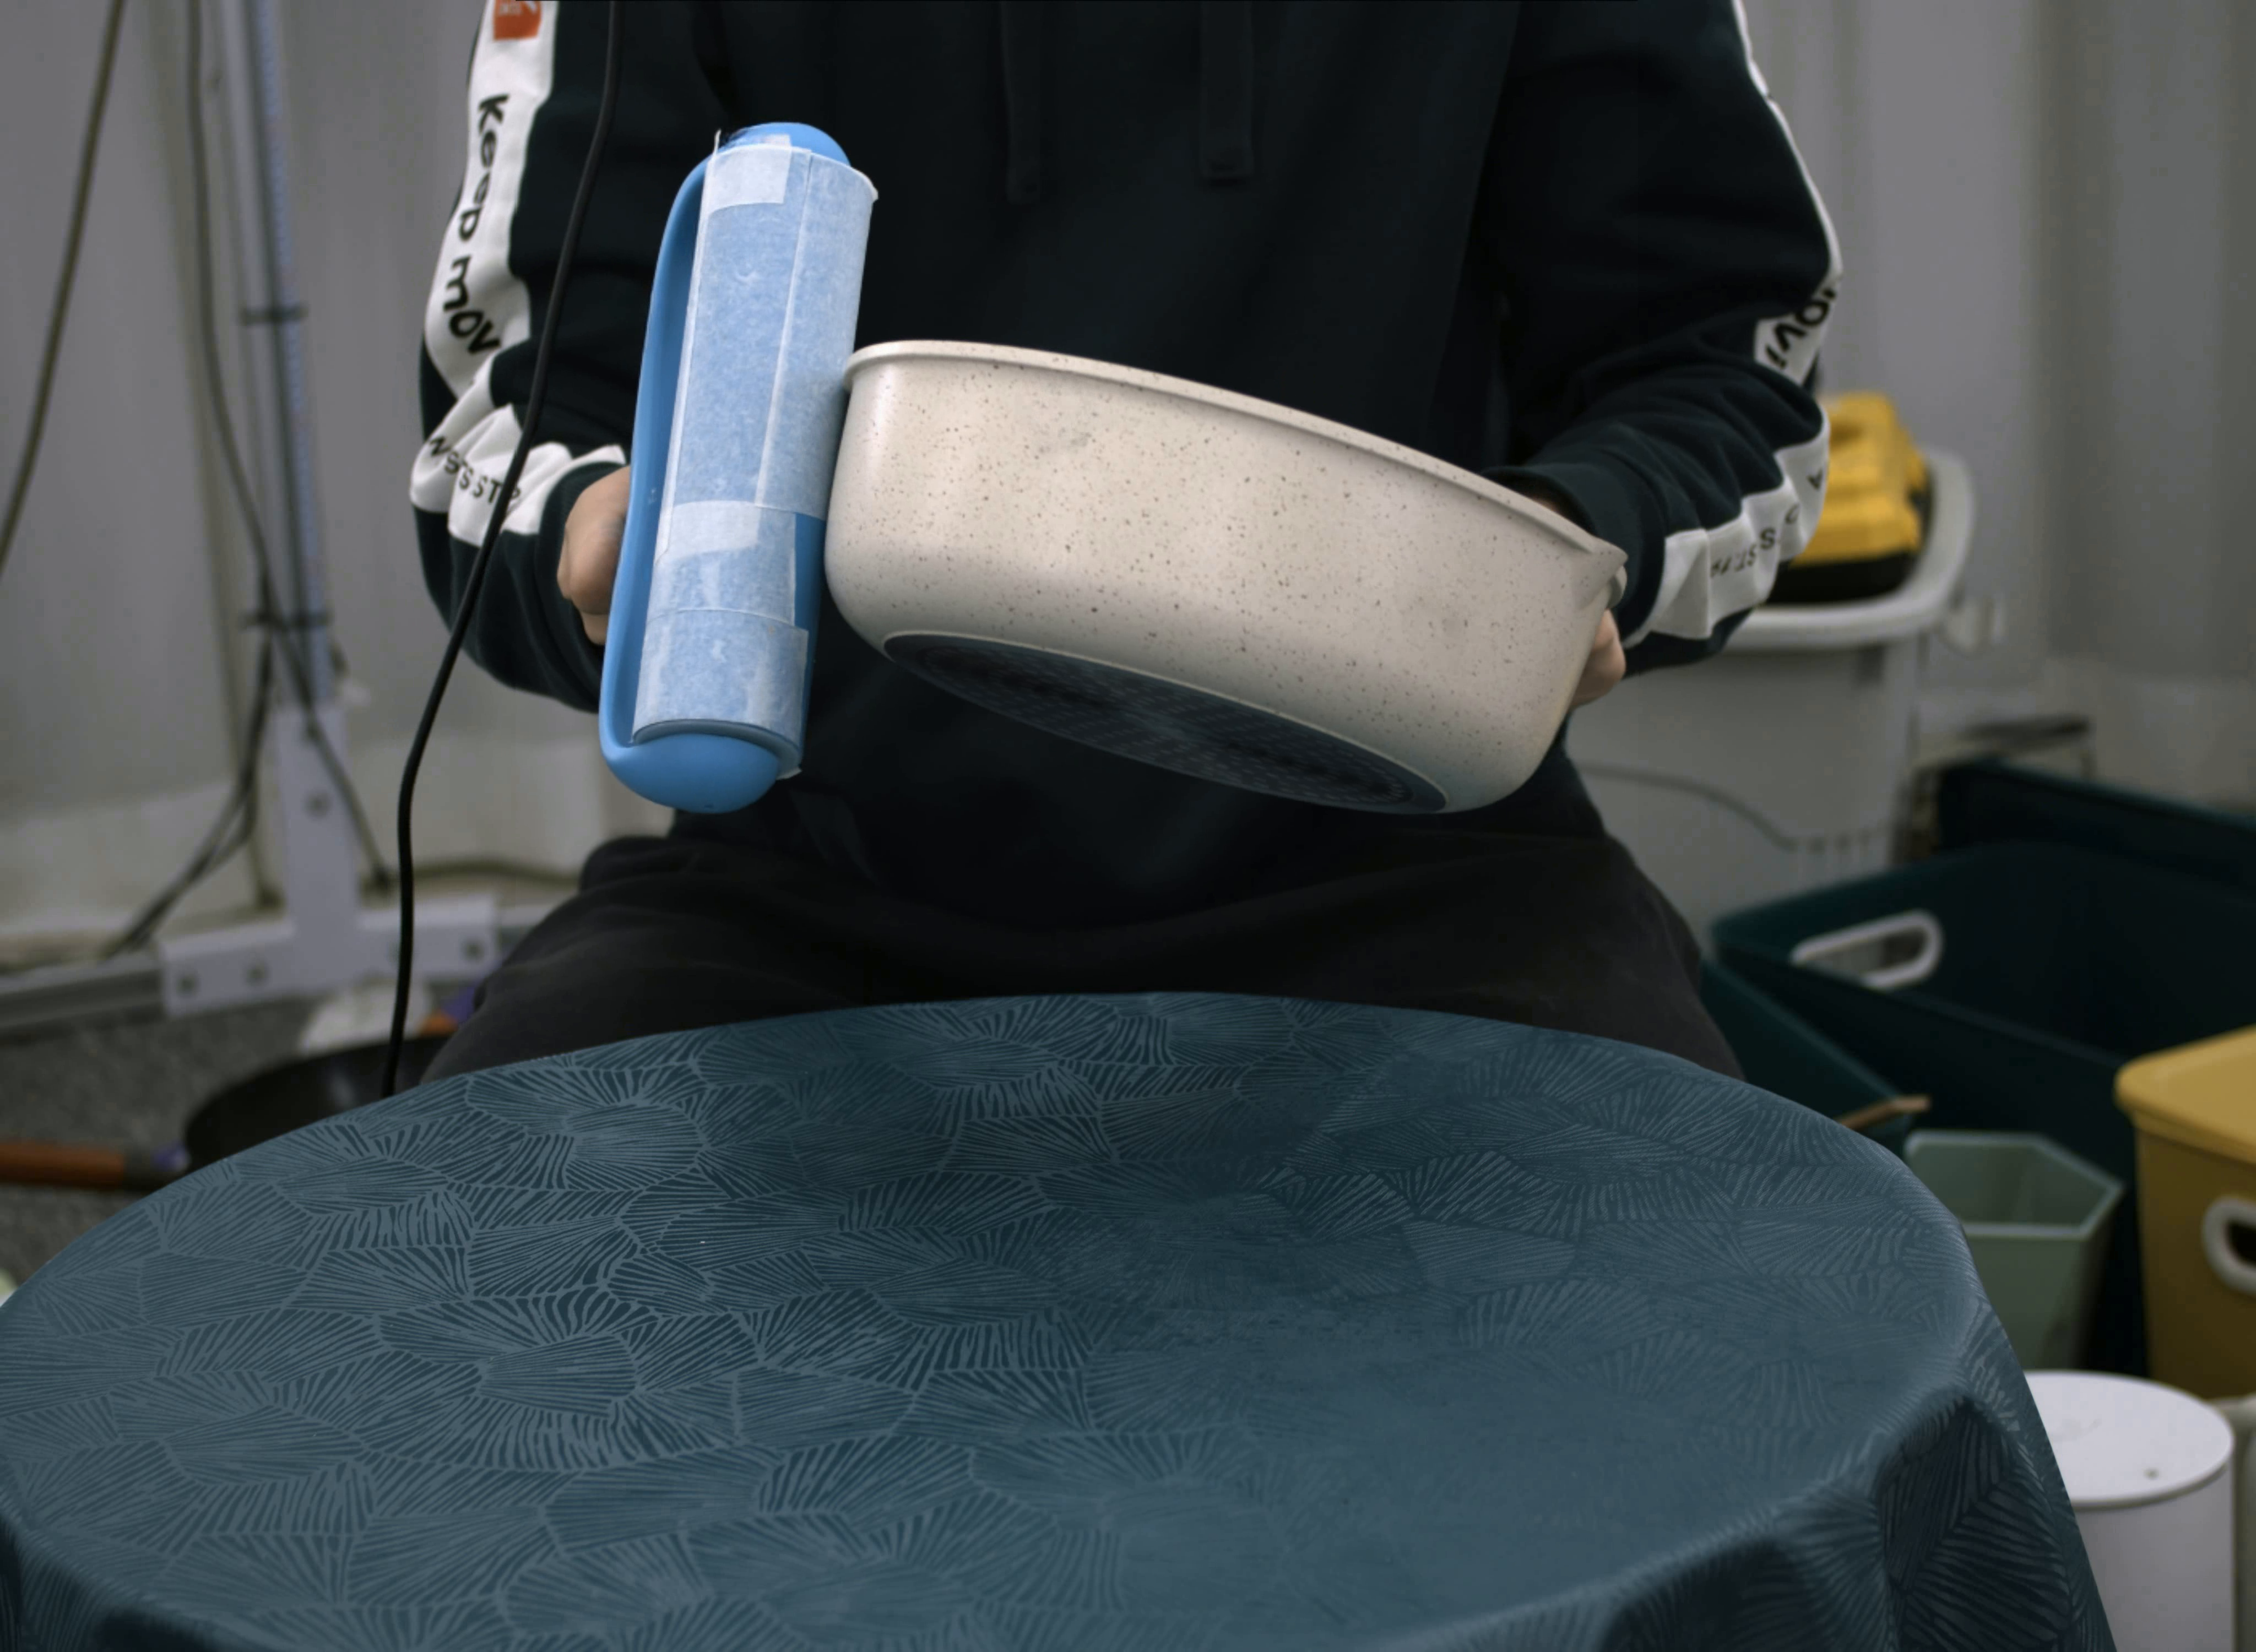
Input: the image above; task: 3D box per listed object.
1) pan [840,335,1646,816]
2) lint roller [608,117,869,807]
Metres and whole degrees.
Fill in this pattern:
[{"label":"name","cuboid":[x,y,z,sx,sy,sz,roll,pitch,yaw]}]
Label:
[{"label":"pan","cuboid":[0.061,-0.056,1.774,0.264,0.102,0.431,11,-9,24]},{"label":"lint roller","cuboid":[-0.130,-0.096,1.764,0.067,0.232,0.179,8,-22,-11]}]
